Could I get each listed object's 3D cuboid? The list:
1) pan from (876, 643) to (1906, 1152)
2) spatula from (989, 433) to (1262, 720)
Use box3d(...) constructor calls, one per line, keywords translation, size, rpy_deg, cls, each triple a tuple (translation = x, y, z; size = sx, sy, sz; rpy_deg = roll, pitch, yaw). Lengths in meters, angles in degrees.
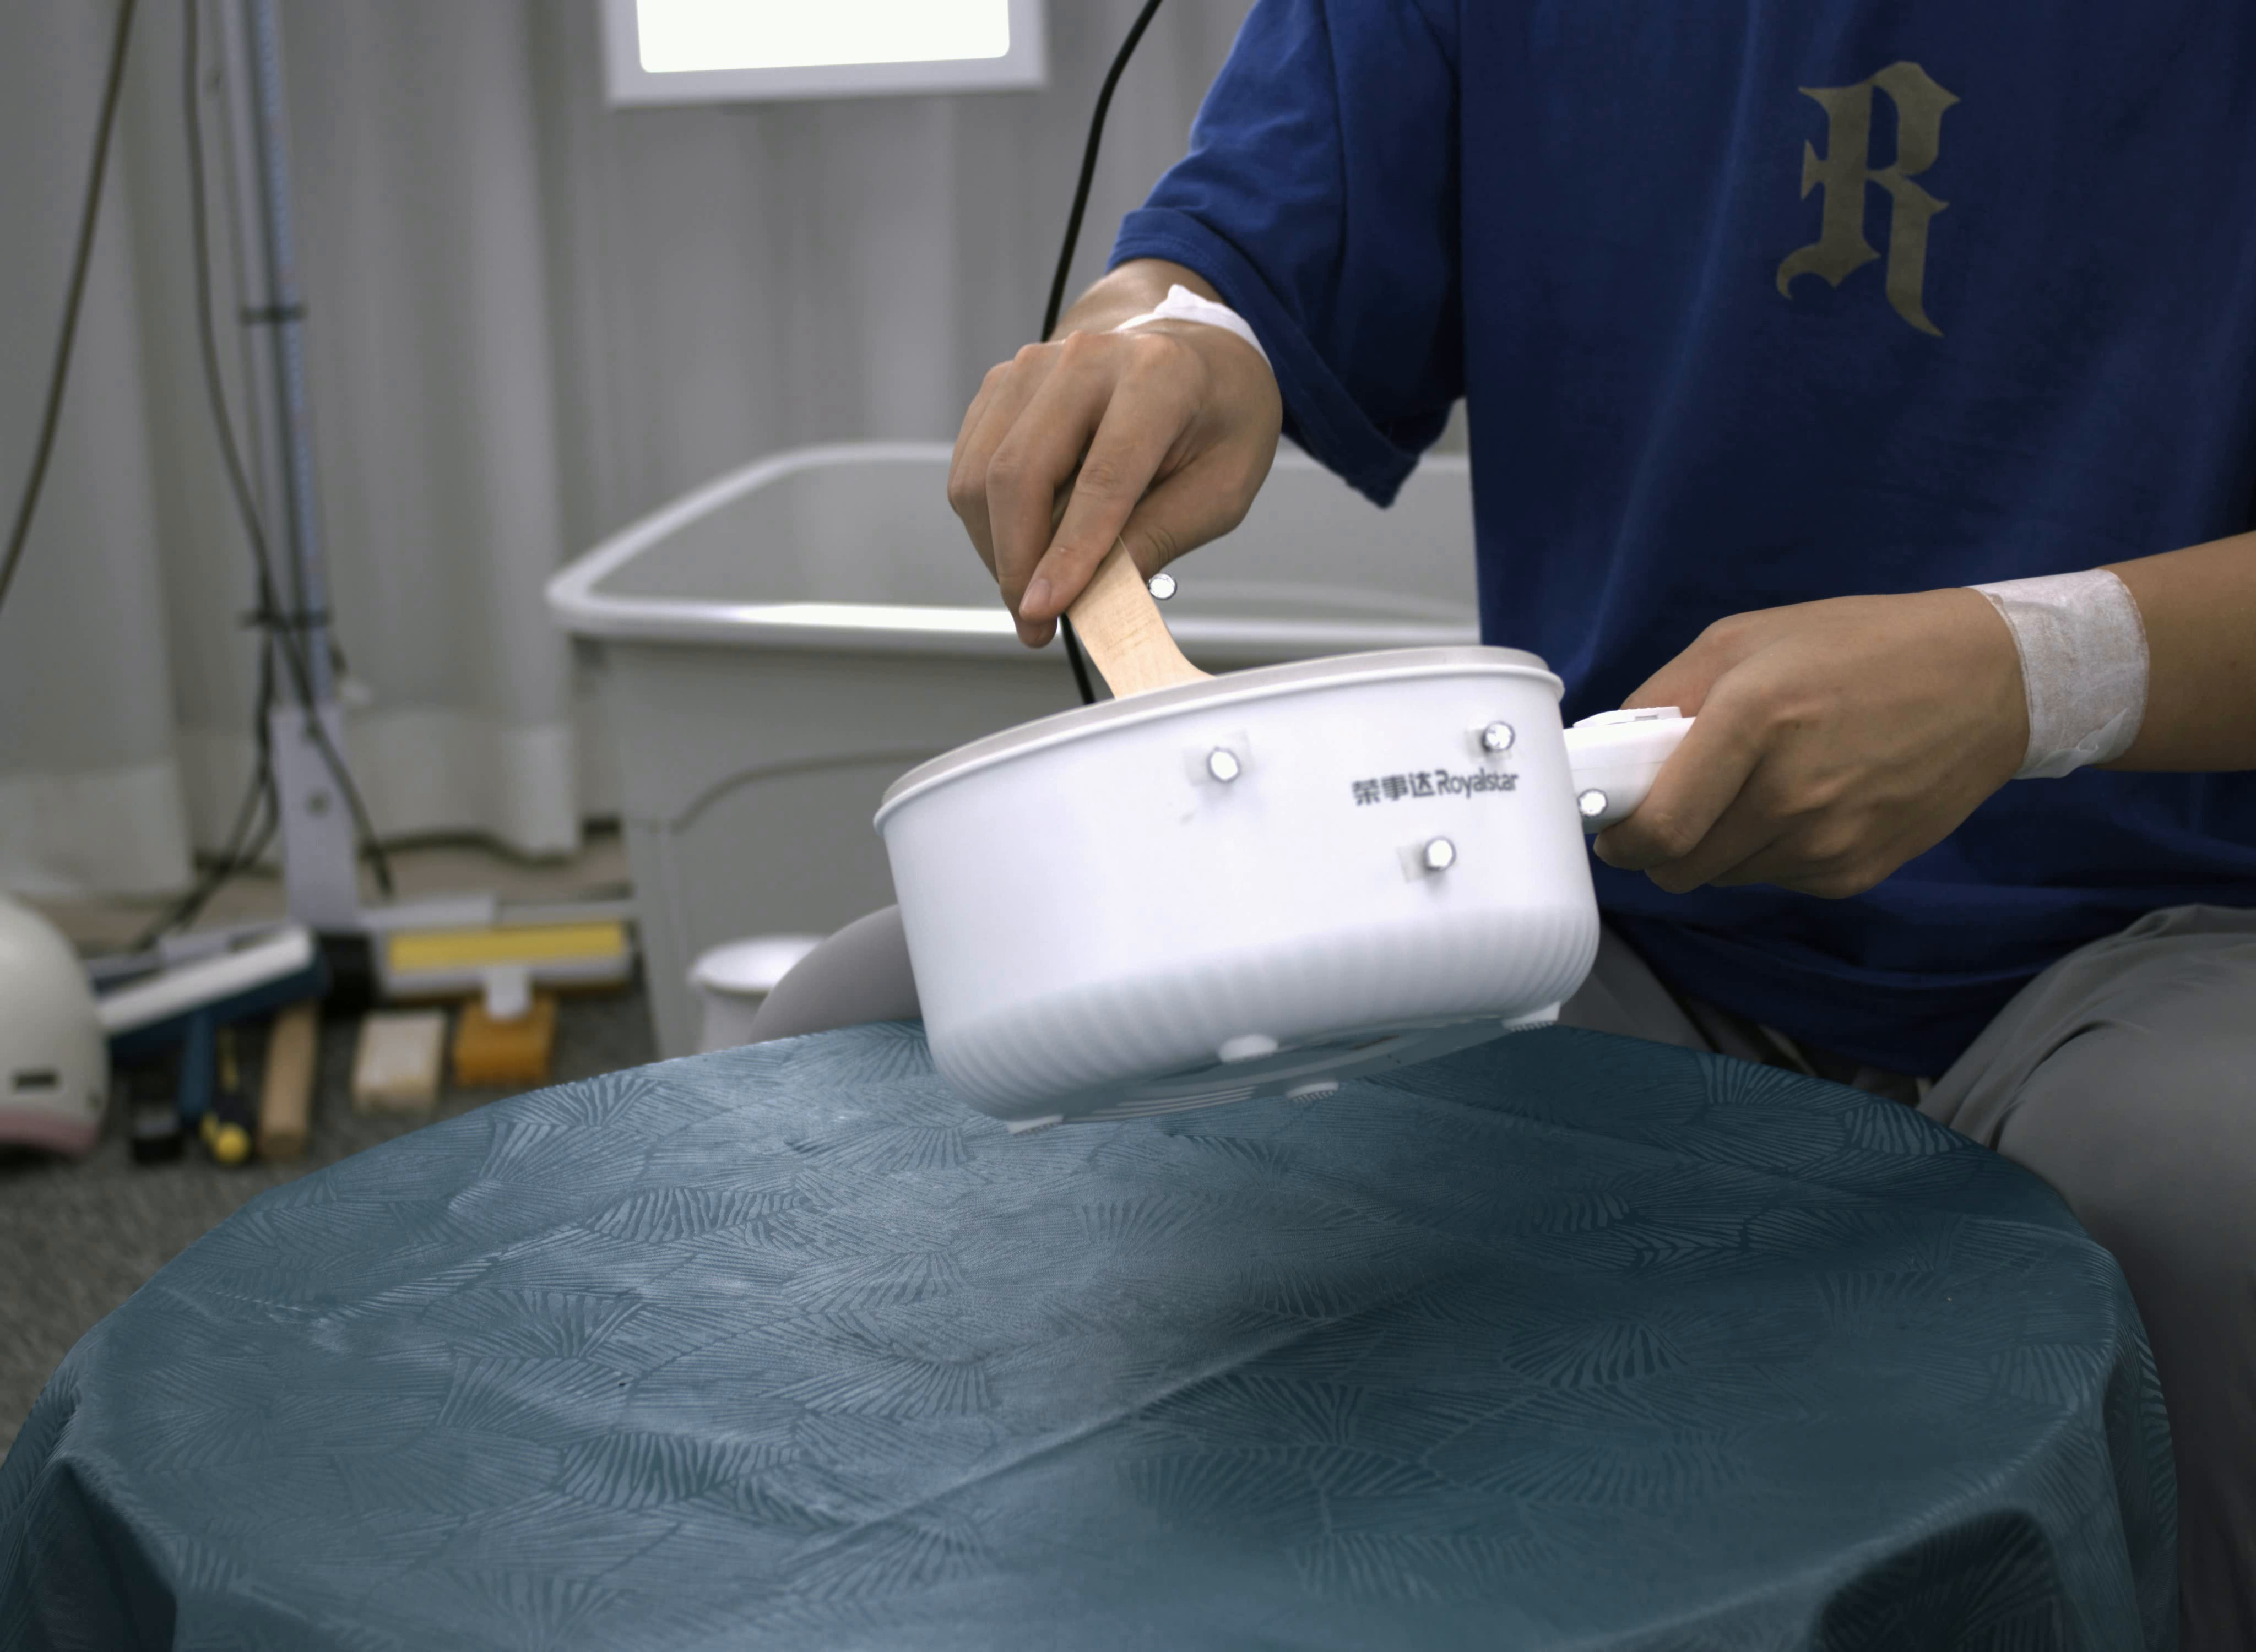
box3d(translation=(0.096, 0.020, 1.600), size=(0.353, 0.103, 0.200), rpy_deg=(-5, -13, -38), cls="pan")
box3d(translation=(0.001, -0.055, 1.671), size=(0.072, 0.010, 0.297), rpy_deg=(-33, 32, 4), cls="spatula")
